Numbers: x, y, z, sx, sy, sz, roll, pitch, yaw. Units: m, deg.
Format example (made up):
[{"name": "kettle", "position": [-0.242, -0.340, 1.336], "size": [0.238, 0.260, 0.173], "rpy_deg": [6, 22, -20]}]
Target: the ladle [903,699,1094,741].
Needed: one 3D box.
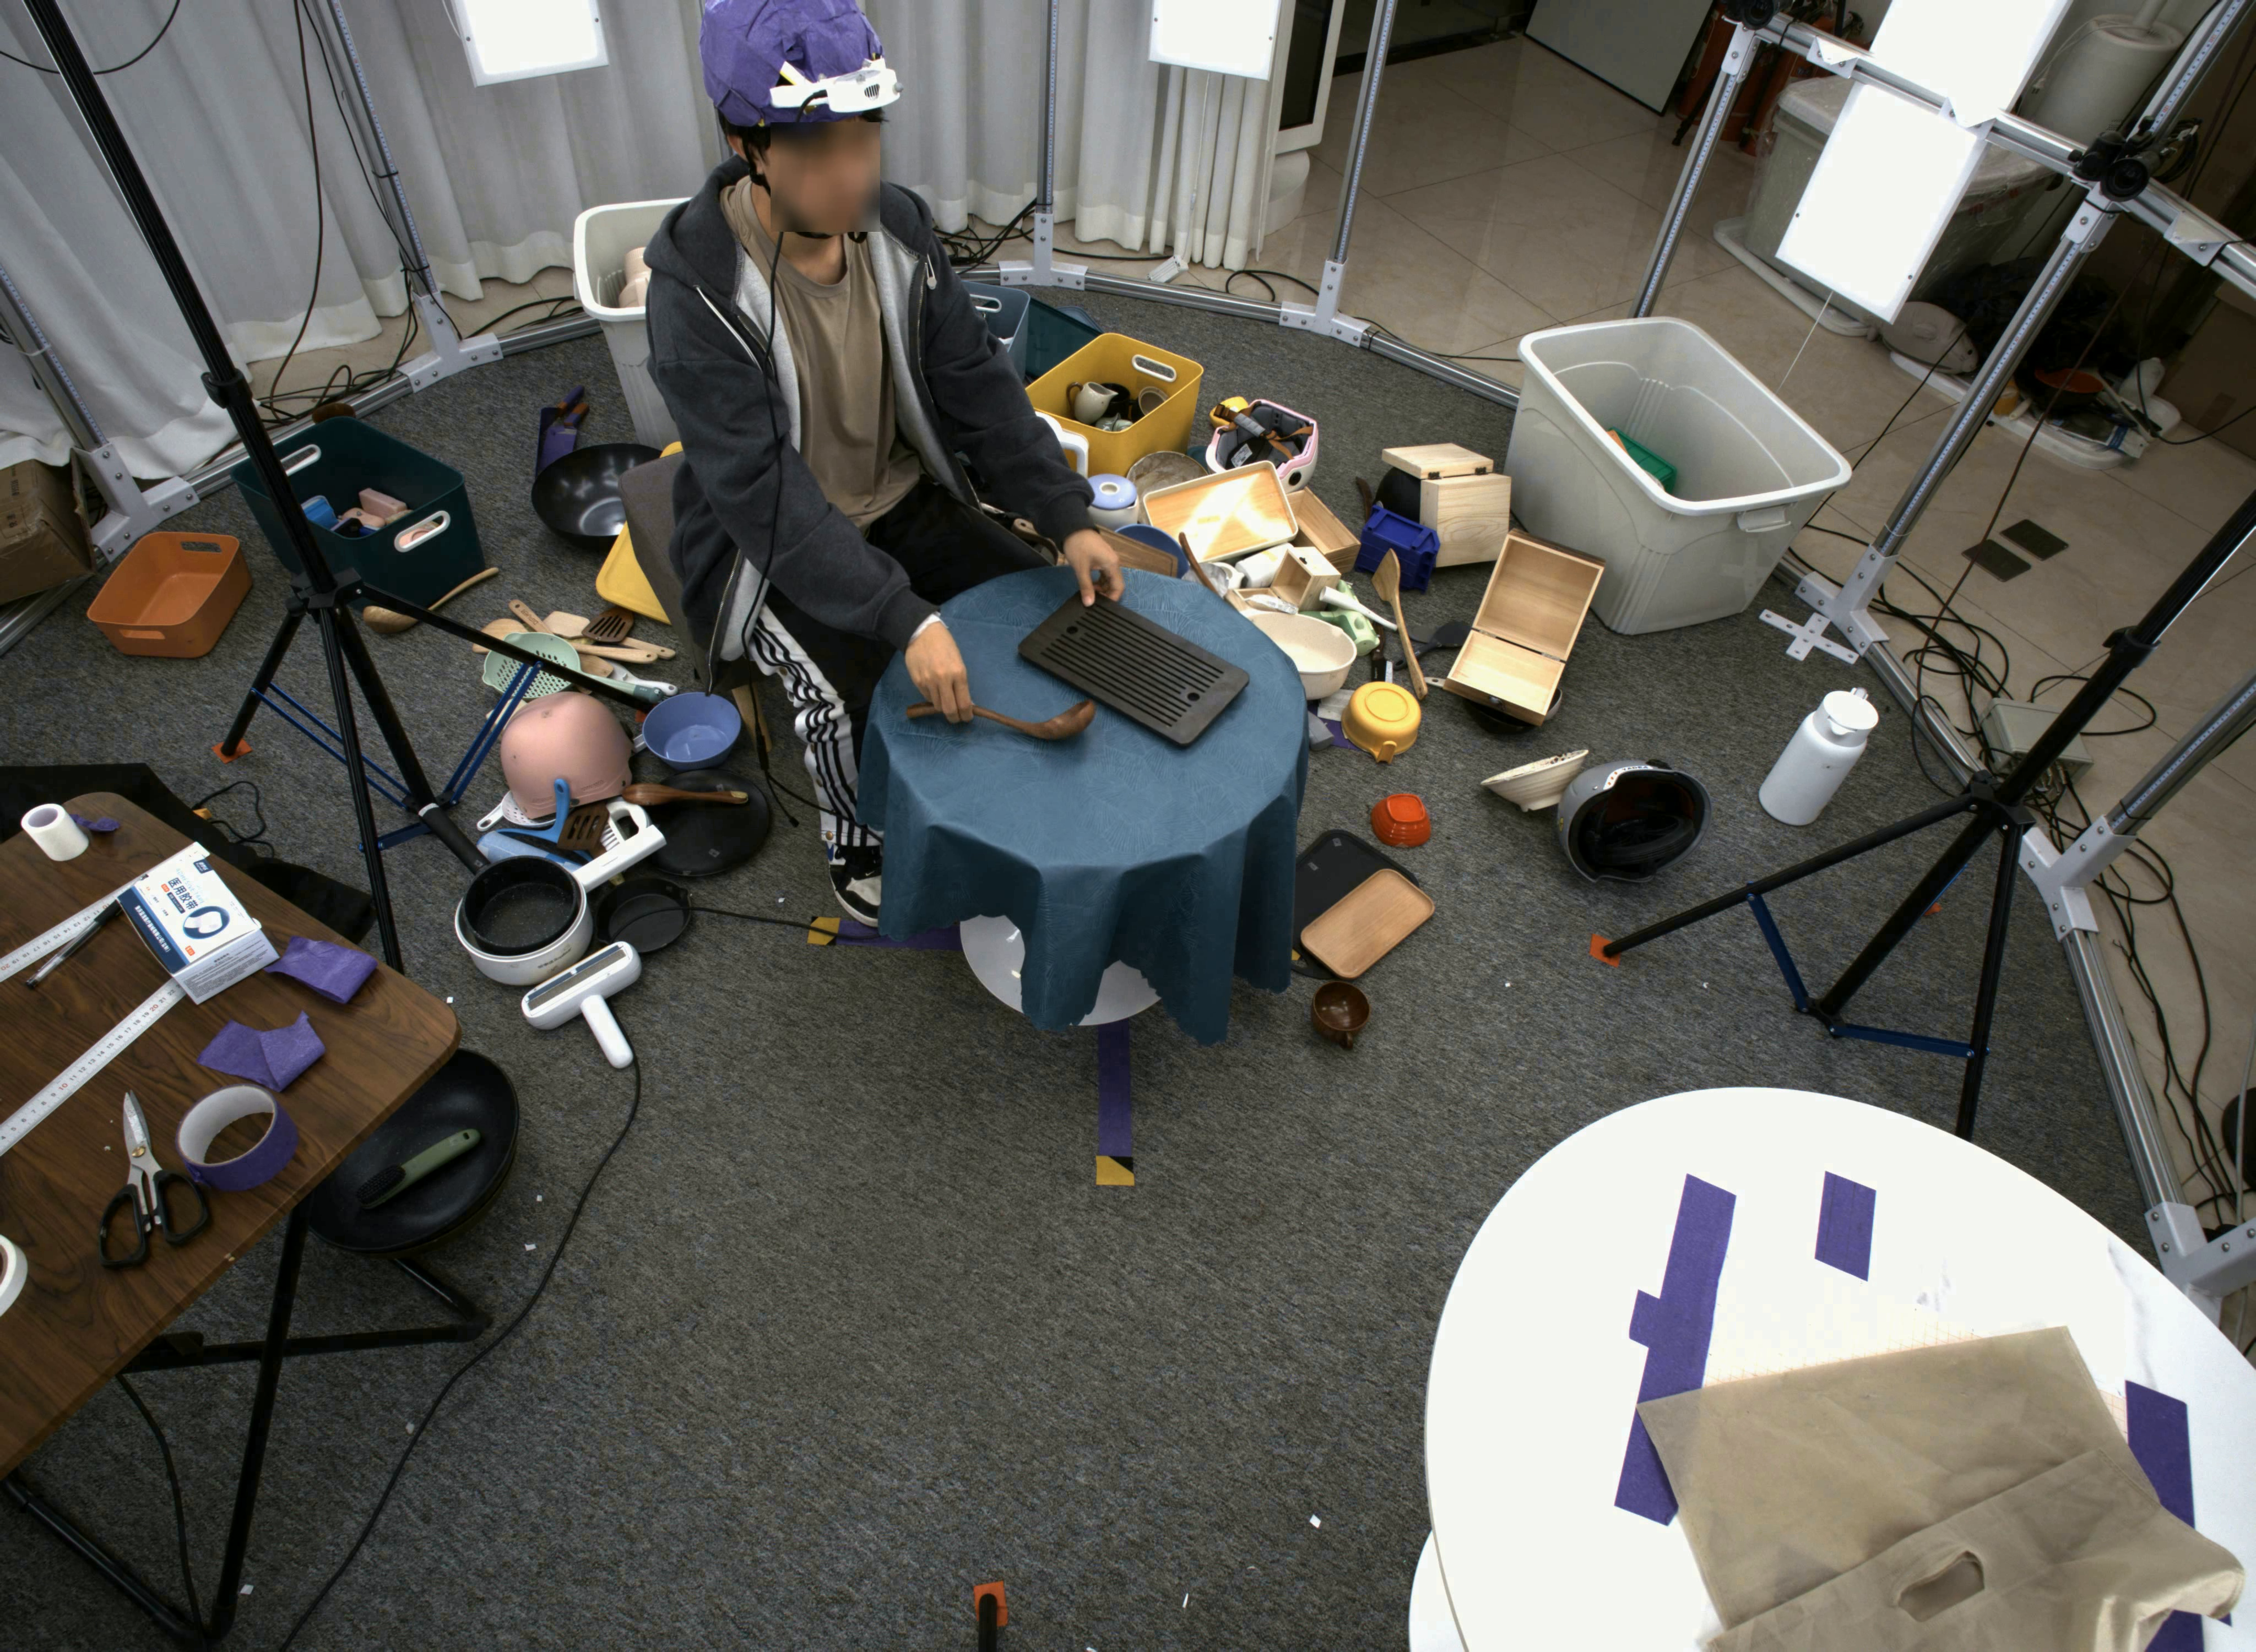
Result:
[{"name": "ladle", "position": [-0.176, -0.160, 1.751], "size": [0.260, 0.064, 0.077], "rpy_deg": [10, 21, 4]}]

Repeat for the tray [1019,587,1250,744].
[{"name": "tray", "position": [0.008, -0.234, 1.853], "size": [0.309, 0.018, 0.172], "rpy_deg": [31, 57, 22]}]
